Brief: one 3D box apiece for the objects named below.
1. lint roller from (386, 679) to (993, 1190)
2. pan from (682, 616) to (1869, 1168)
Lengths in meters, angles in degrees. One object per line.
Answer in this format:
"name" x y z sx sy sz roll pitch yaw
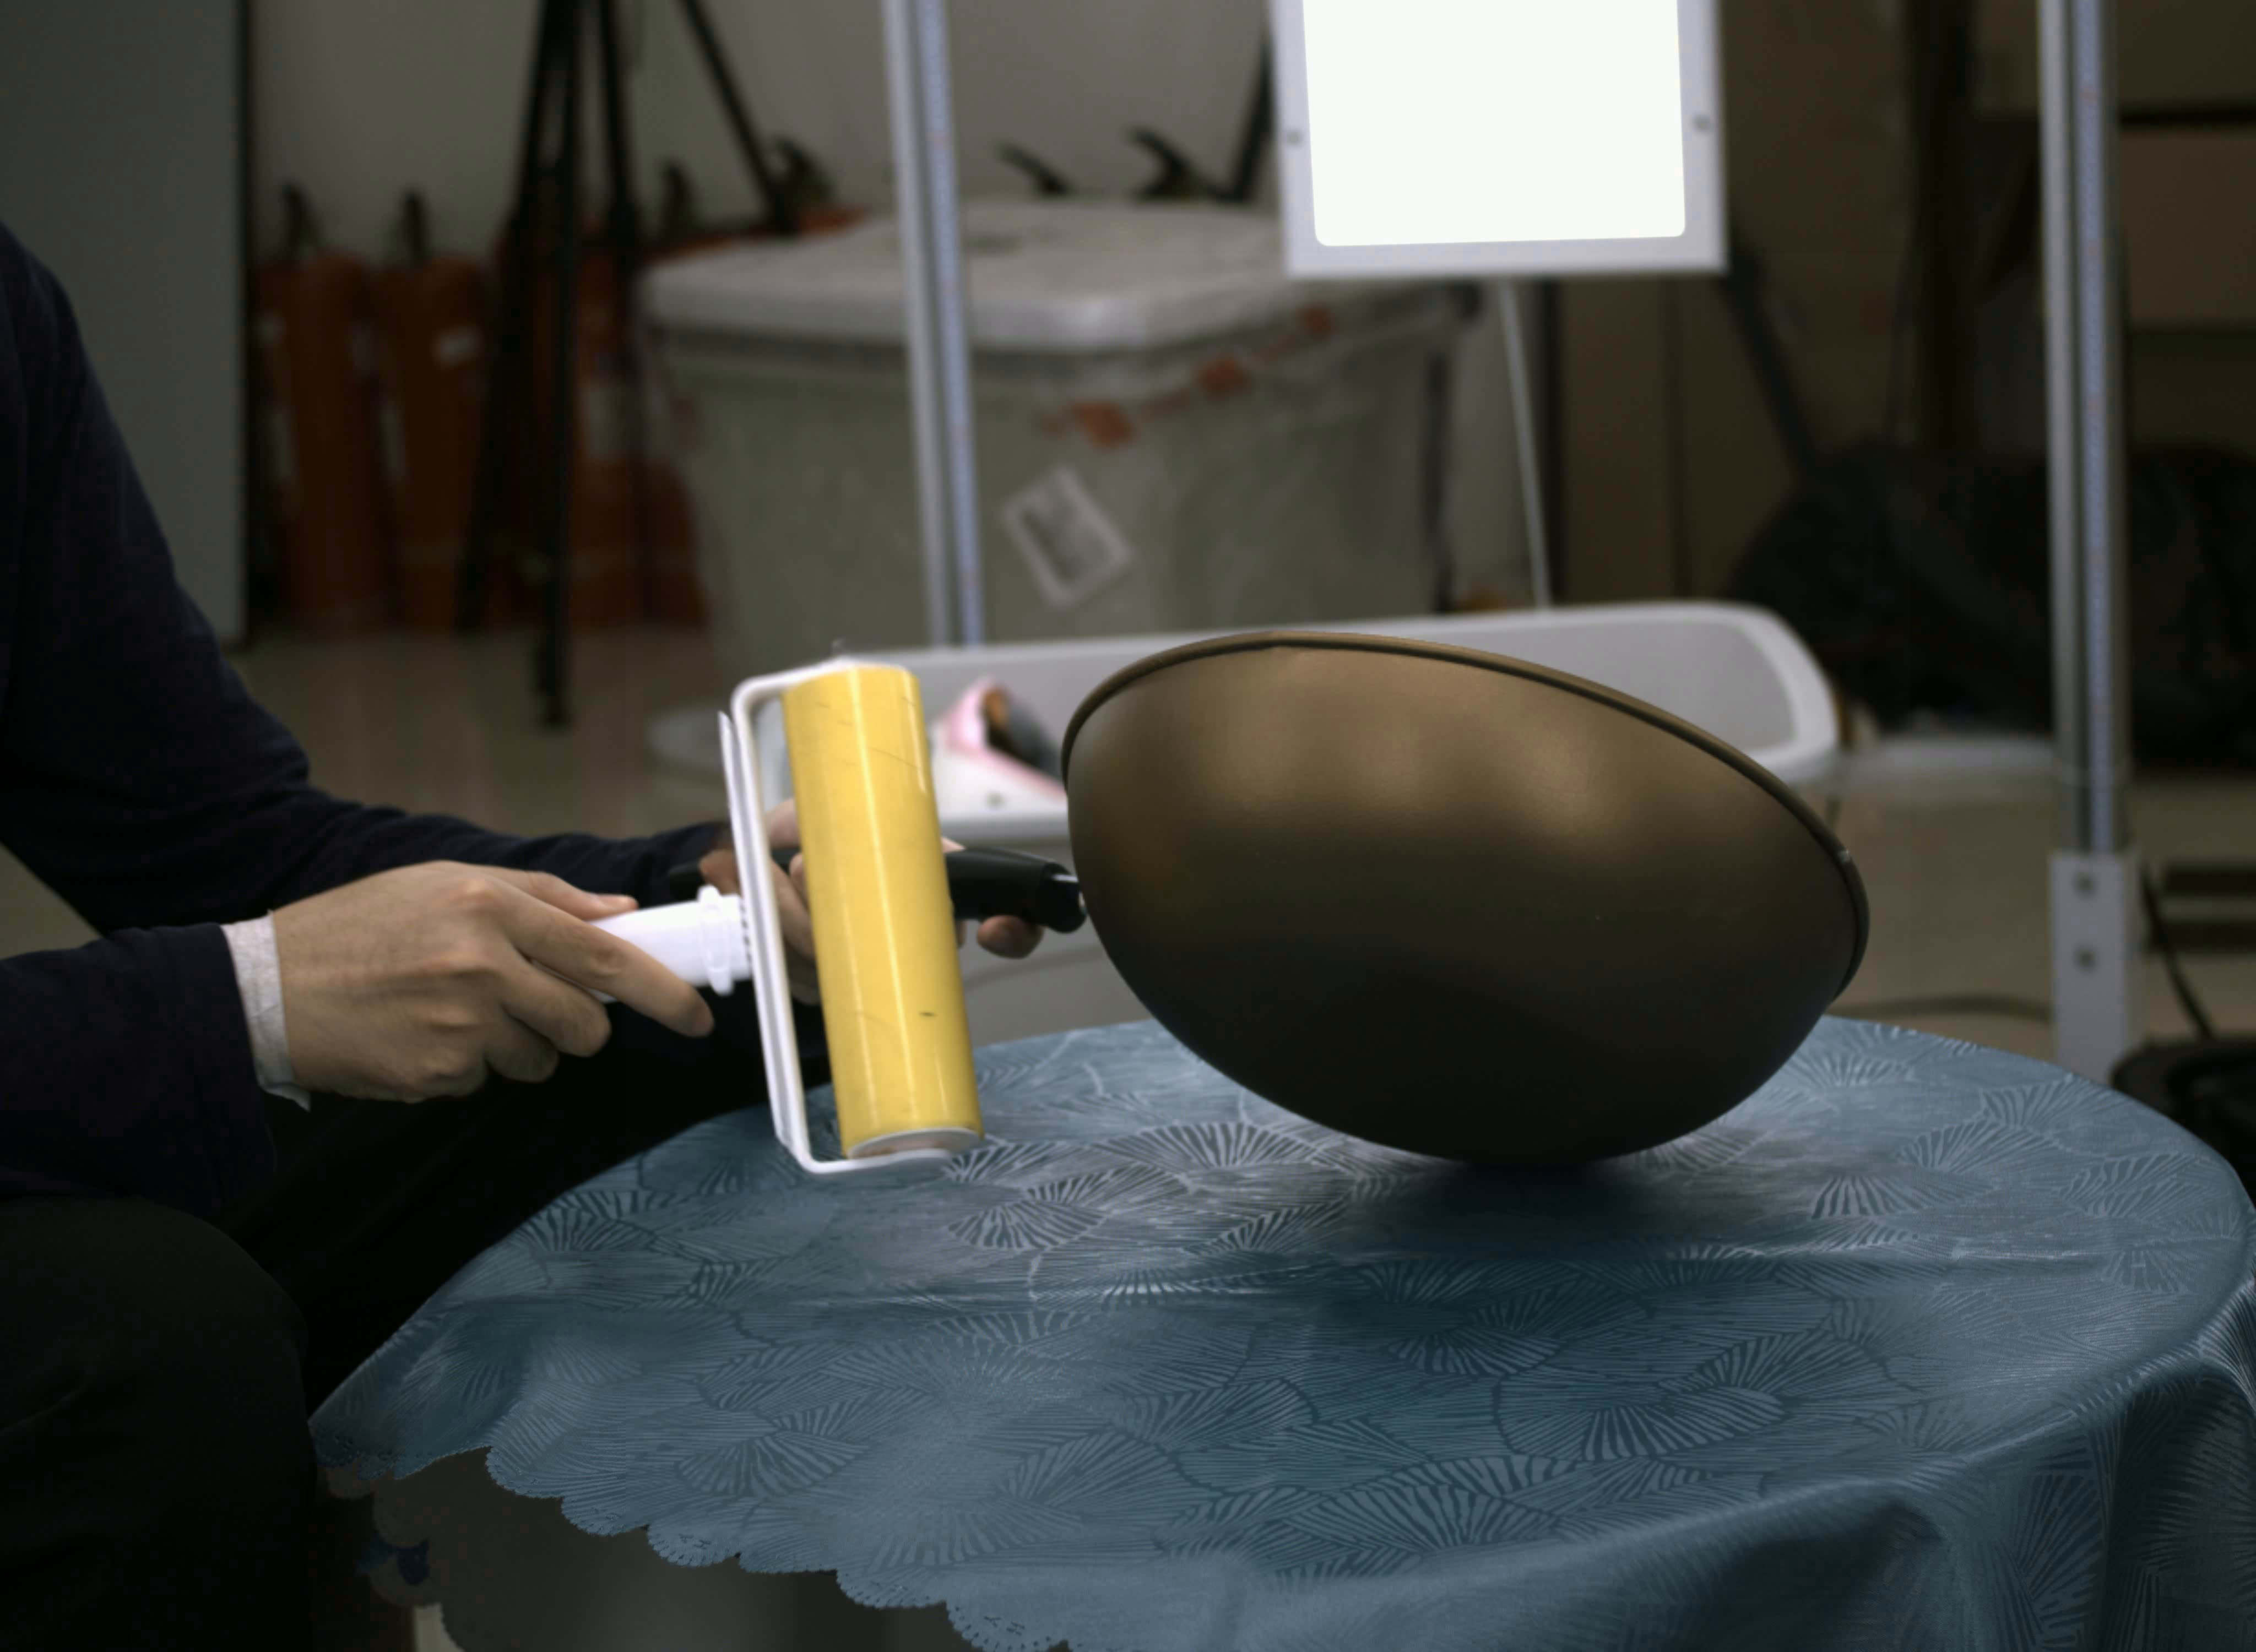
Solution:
"lint roller" -0.150 0.043 1.831 0.190 0.174 0.052 -6 -20 -8
"pan" 0.024 0.043 1.877 0.473 0.284 0.086 -3 57 34
